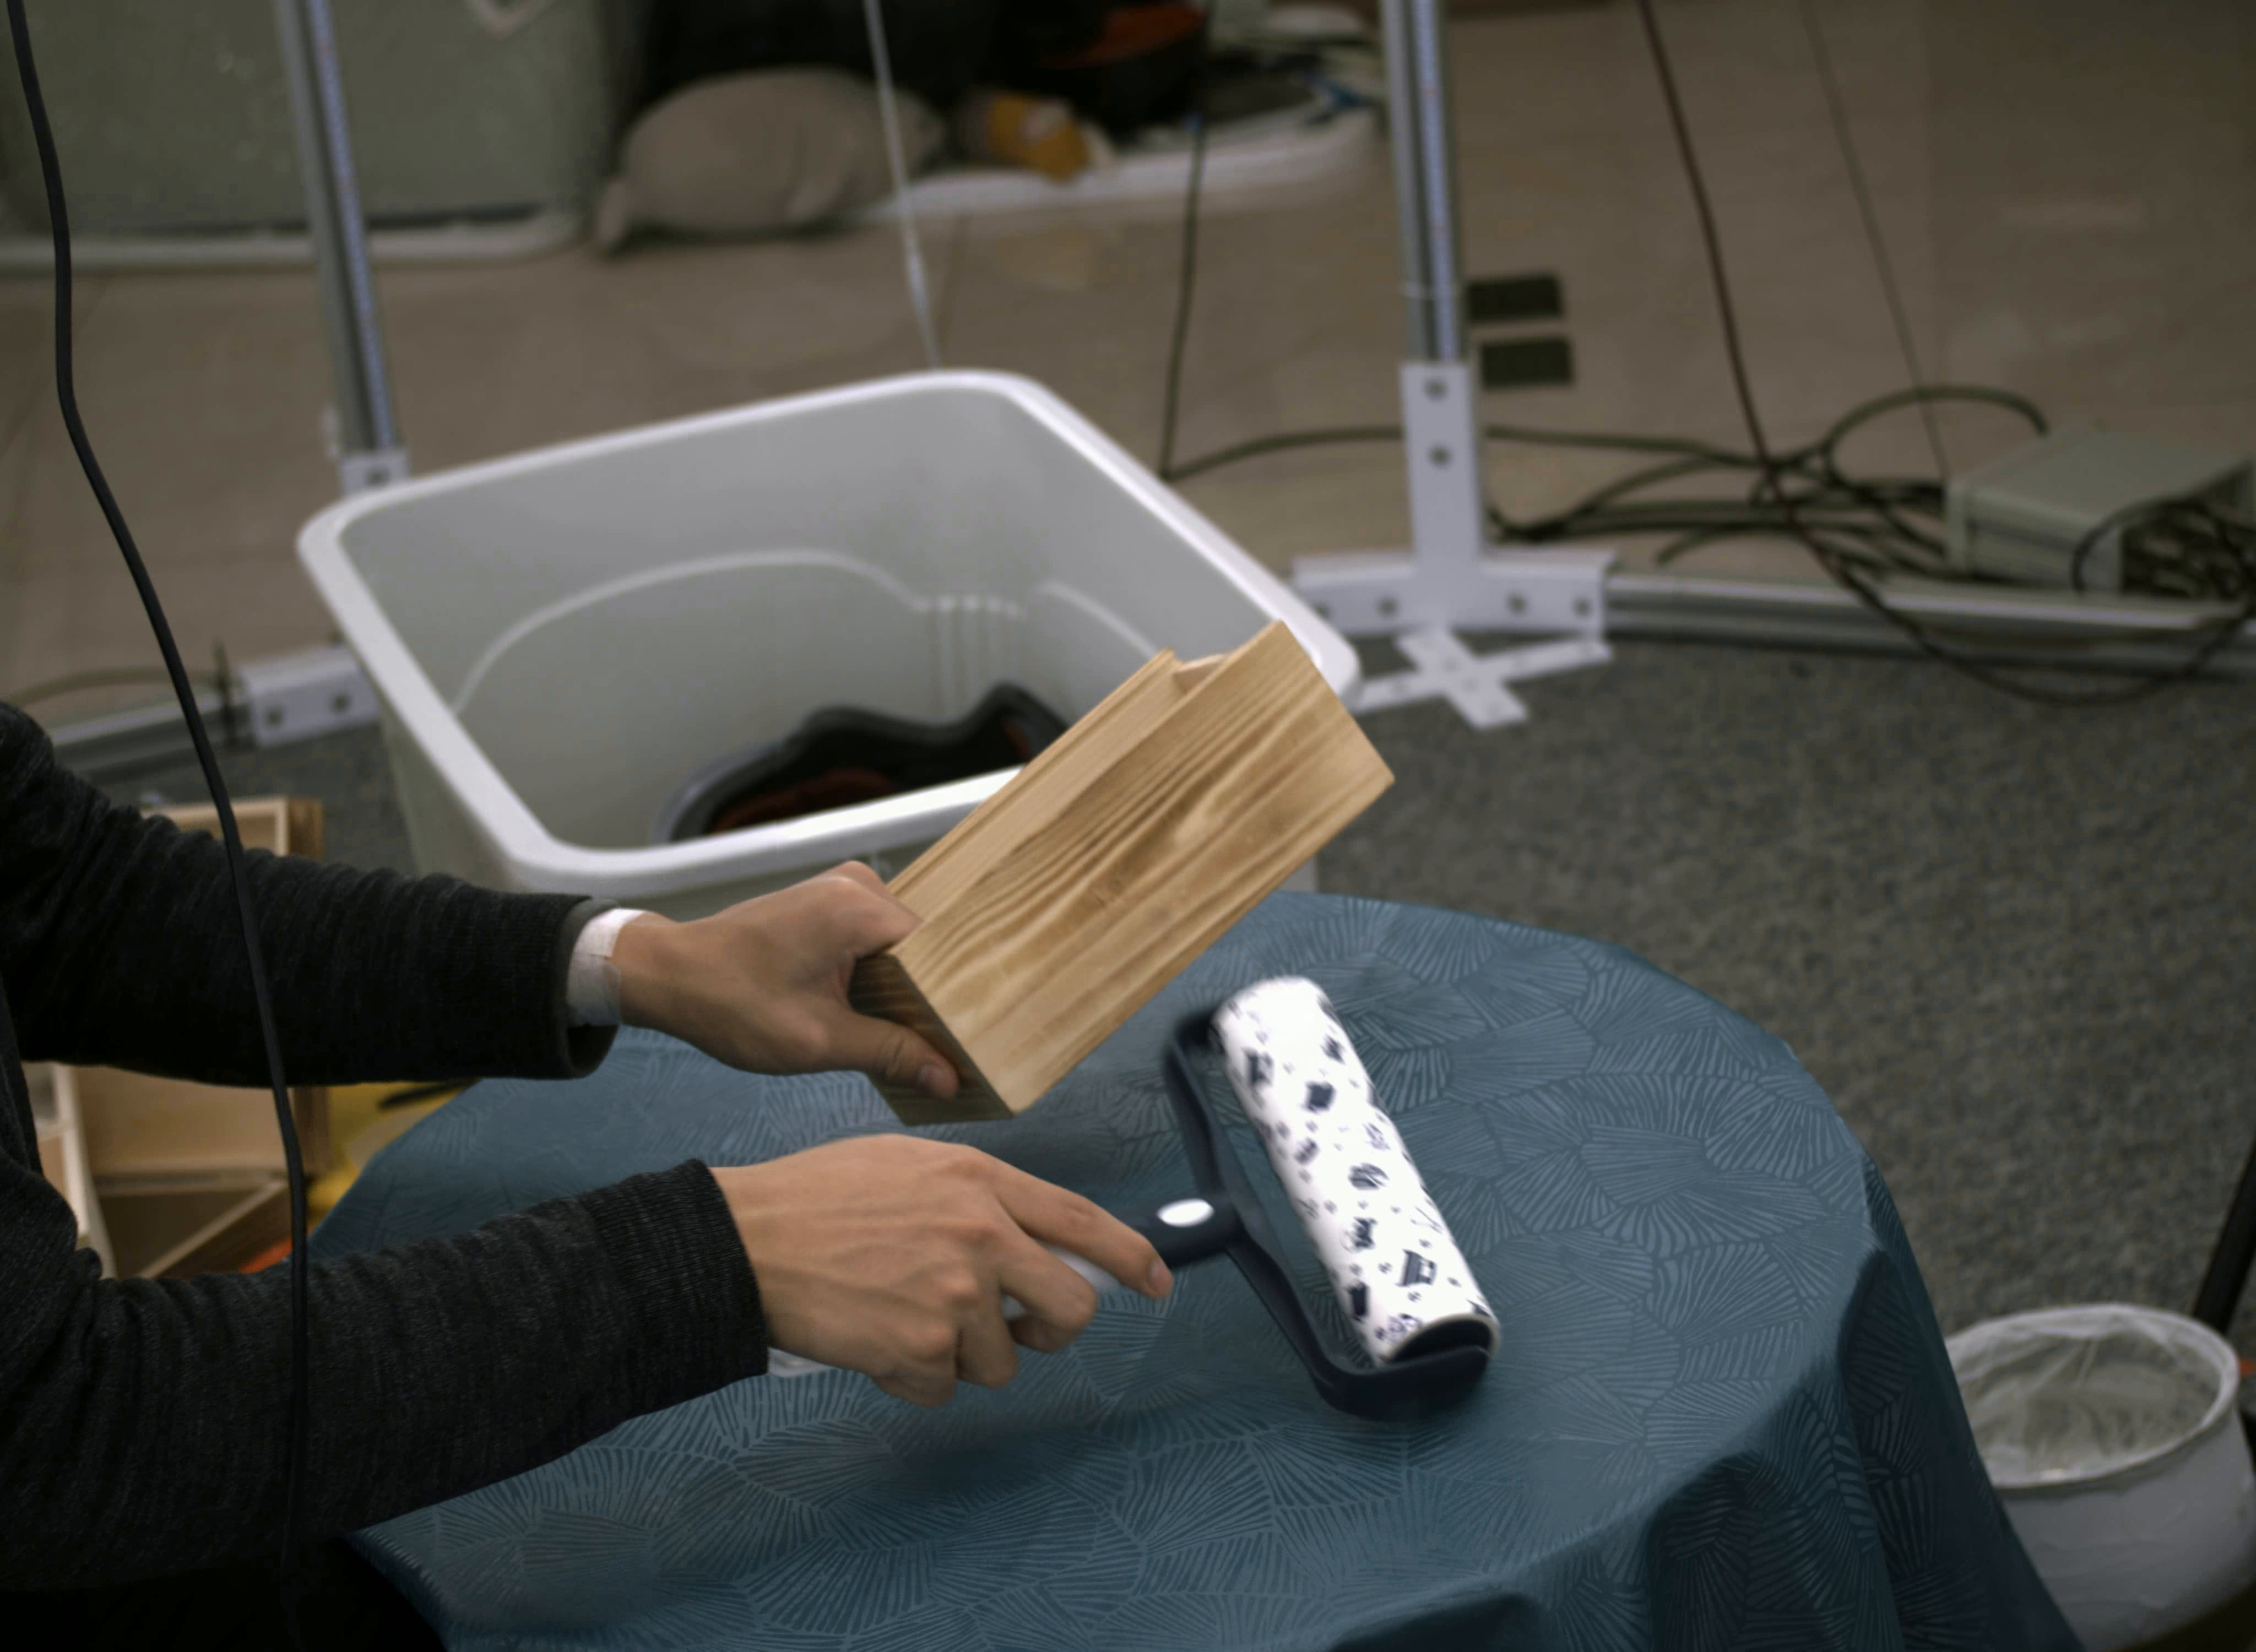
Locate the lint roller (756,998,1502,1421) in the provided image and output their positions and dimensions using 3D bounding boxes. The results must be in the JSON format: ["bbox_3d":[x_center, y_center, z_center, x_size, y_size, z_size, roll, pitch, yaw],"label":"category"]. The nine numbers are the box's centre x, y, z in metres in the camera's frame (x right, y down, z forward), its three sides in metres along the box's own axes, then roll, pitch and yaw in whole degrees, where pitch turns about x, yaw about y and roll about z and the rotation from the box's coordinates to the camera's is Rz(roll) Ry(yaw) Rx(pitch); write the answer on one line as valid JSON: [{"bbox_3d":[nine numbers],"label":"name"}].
[{"bbox_3d":[-0.011,0.153,1.986,0.246,0.051,0.173,-12,49,-18],"label":"lint roller"}]

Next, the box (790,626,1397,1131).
[{"bbox_3d":[-0.013,0.021,2.187,0.209,0.081,0.107,-41,14,-23],"label":"box"}]
